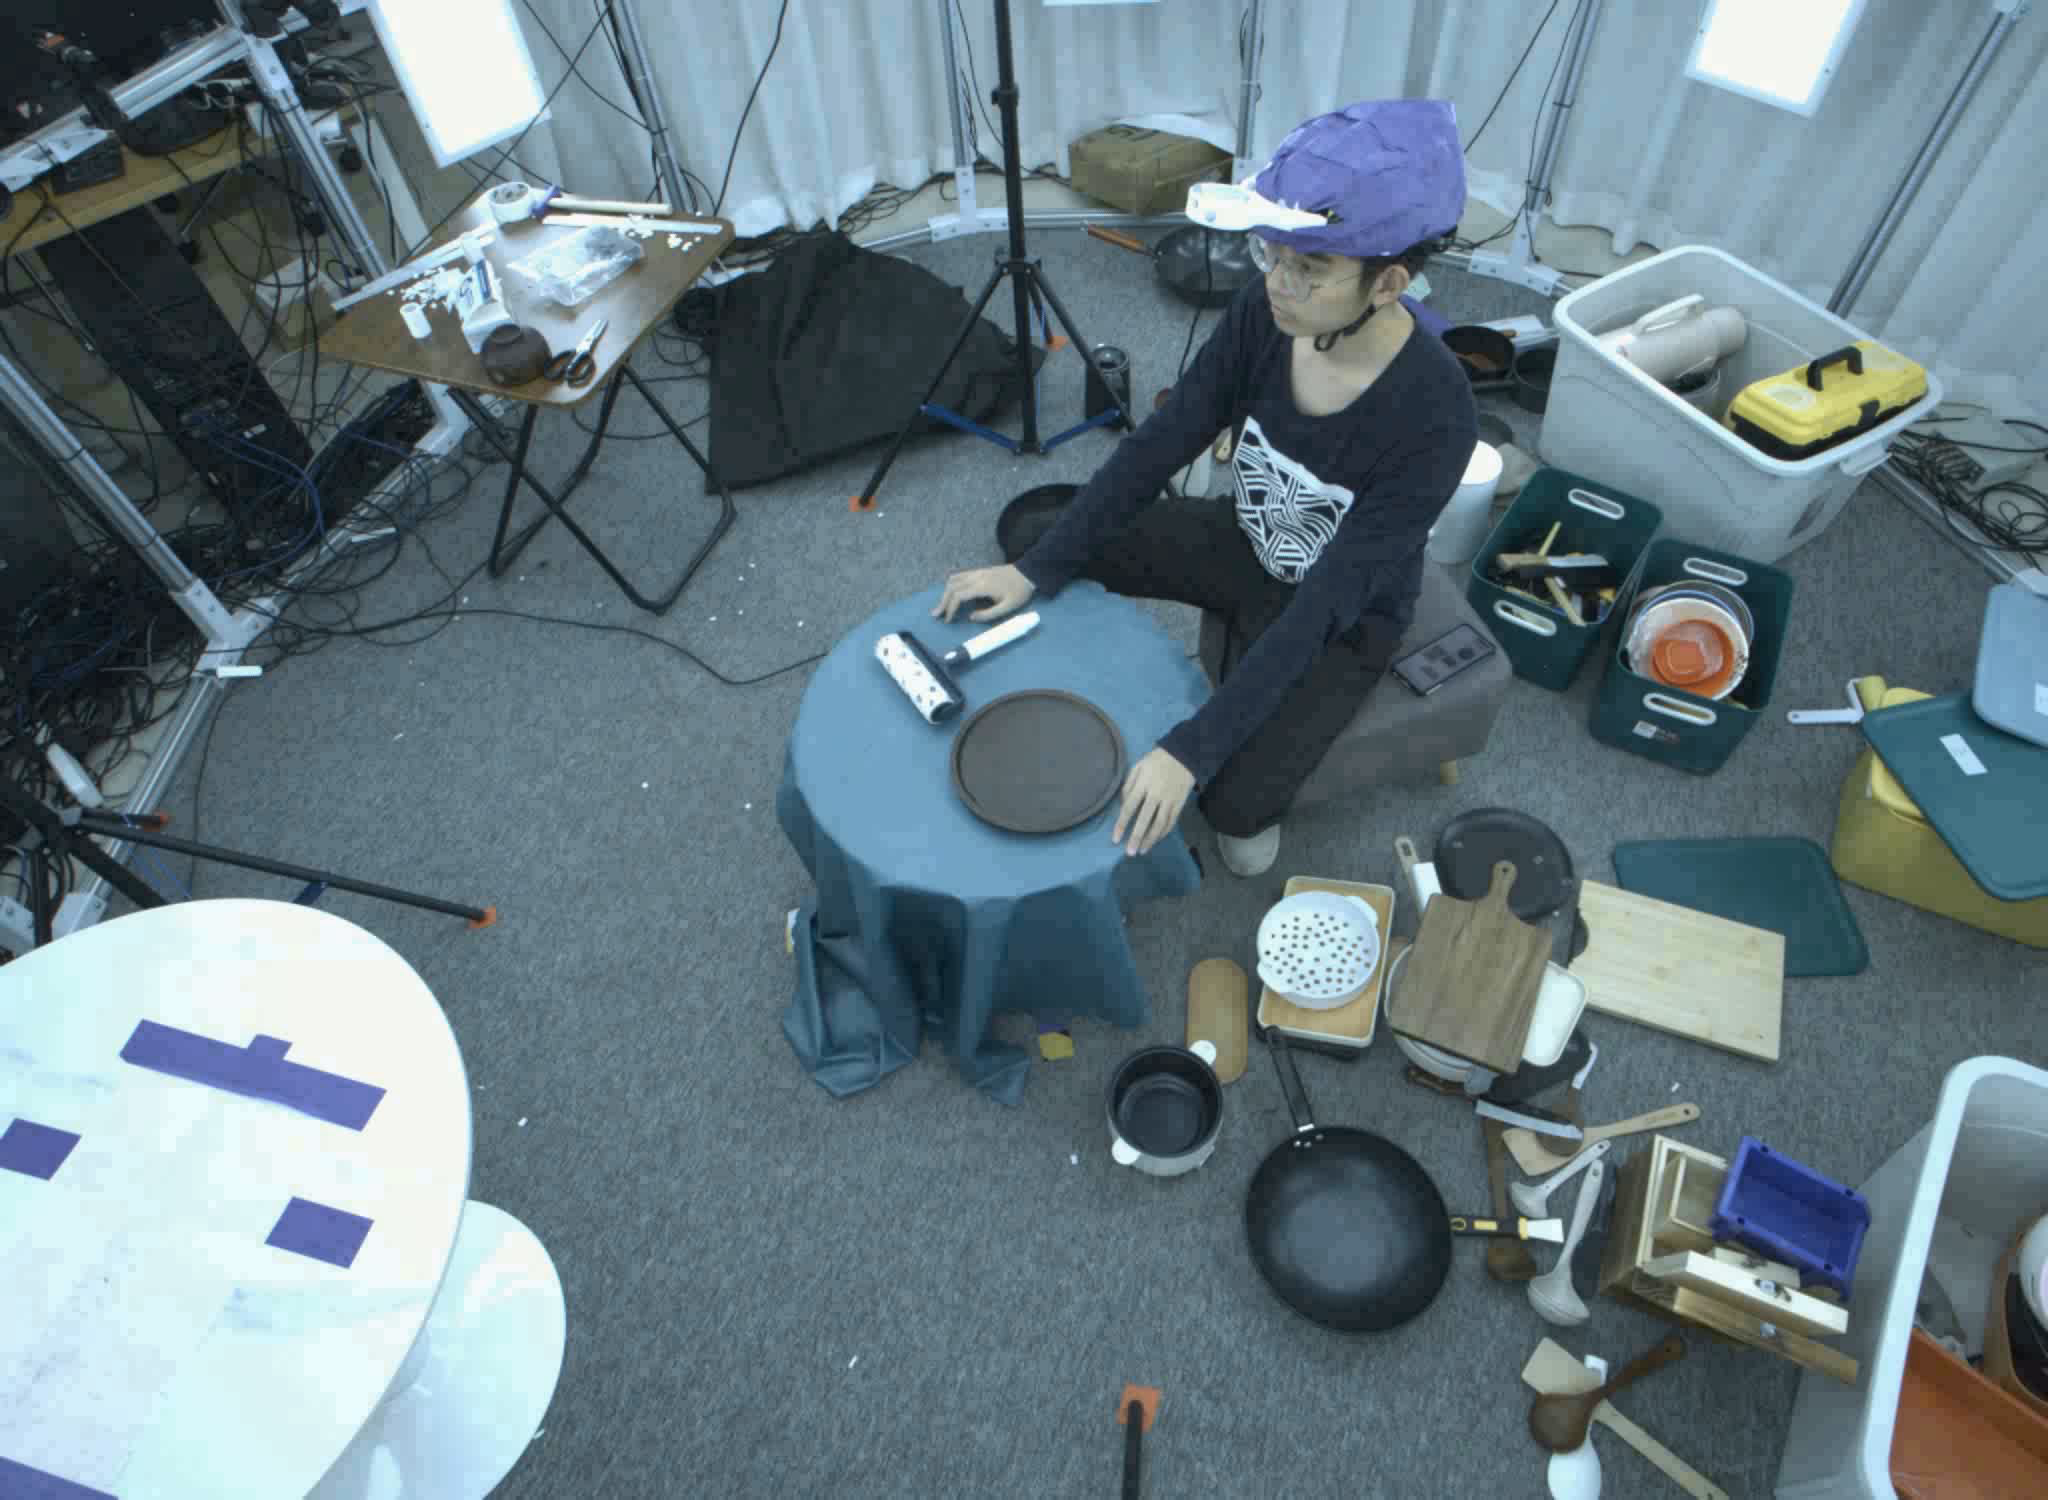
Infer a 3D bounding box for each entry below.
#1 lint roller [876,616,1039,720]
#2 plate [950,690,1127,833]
[{"bbox_3d":[-0.083,-0.156,1.884,0.249,0.051,0.173,-29,57,-21],"label":"lint roller"},{"bbox_3d":[0.021,0.014,1.770,0.255,0.029,0.252,1,54,0],"label":"plate"}]
